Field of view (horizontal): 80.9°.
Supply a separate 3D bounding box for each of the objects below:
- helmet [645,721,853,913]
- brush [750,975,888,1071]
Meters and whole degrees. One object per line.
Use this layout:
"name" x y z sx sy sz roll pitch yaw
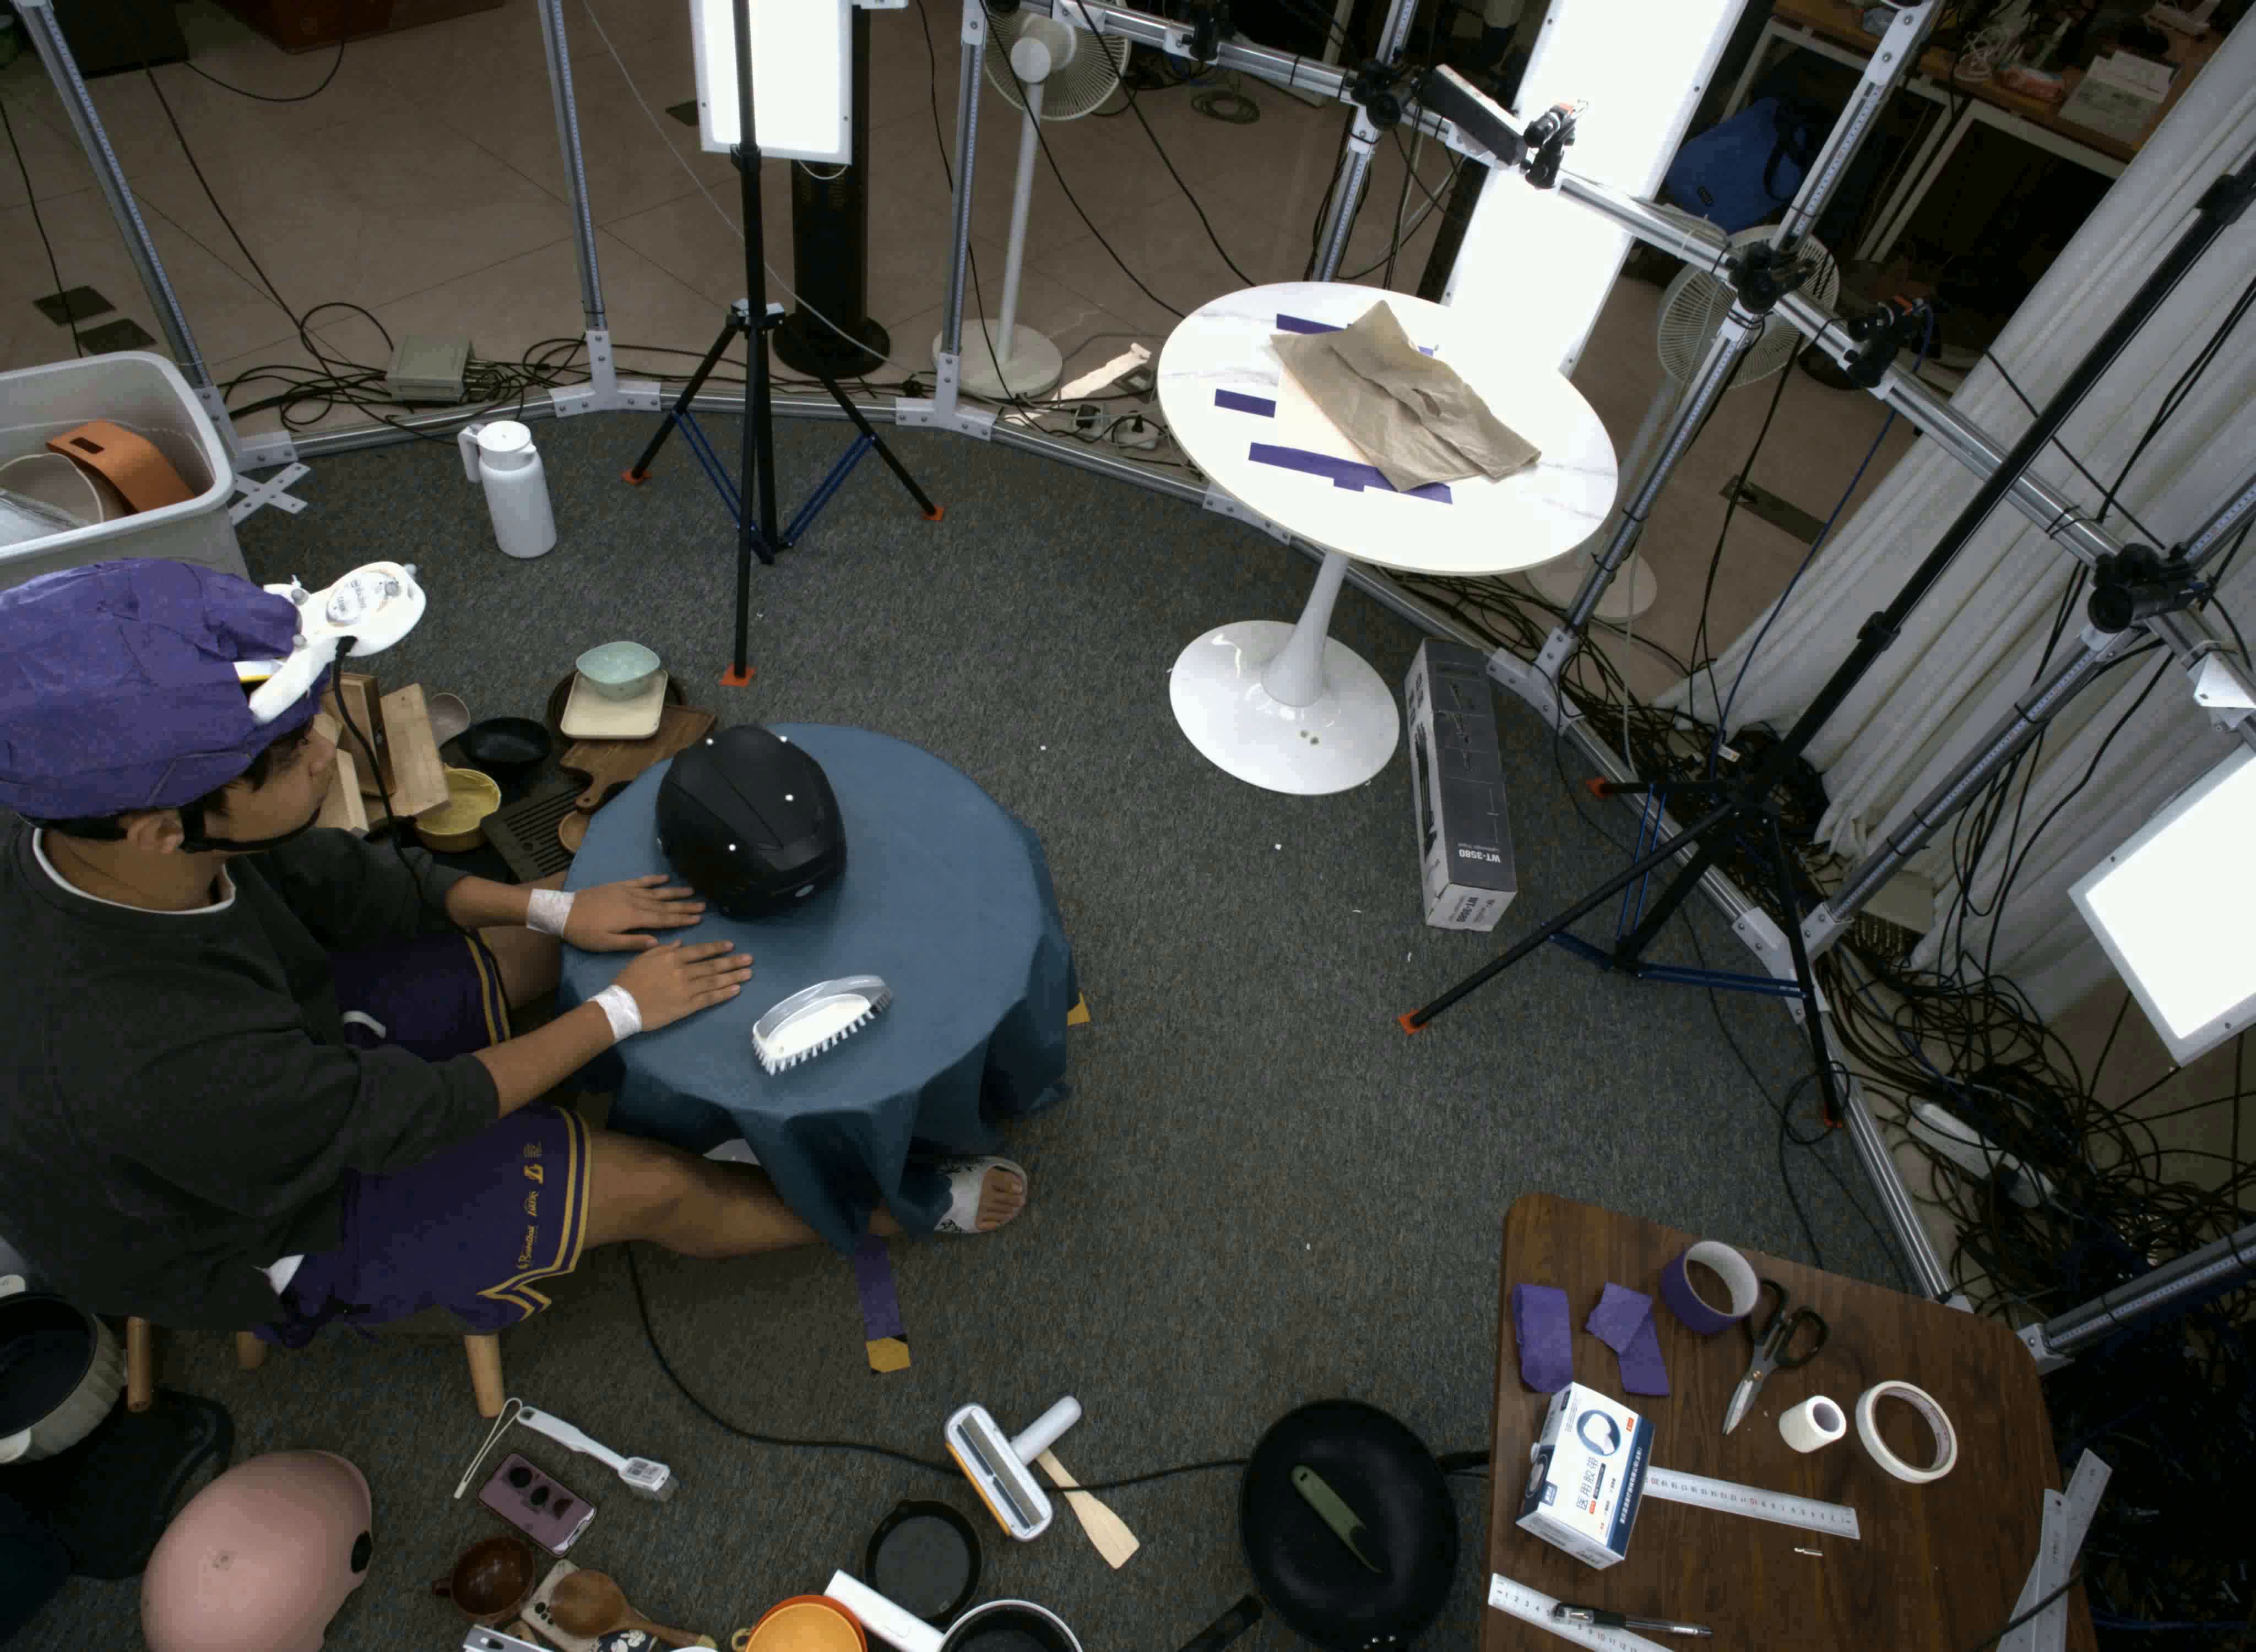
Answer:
"helmet" -0.476 -0.028 1.634 0.248 0.175 0.271 -28 68 -30
"brush" -0.359 0.211 1.529 0.176 0.096 0.060 -23 62 -30
